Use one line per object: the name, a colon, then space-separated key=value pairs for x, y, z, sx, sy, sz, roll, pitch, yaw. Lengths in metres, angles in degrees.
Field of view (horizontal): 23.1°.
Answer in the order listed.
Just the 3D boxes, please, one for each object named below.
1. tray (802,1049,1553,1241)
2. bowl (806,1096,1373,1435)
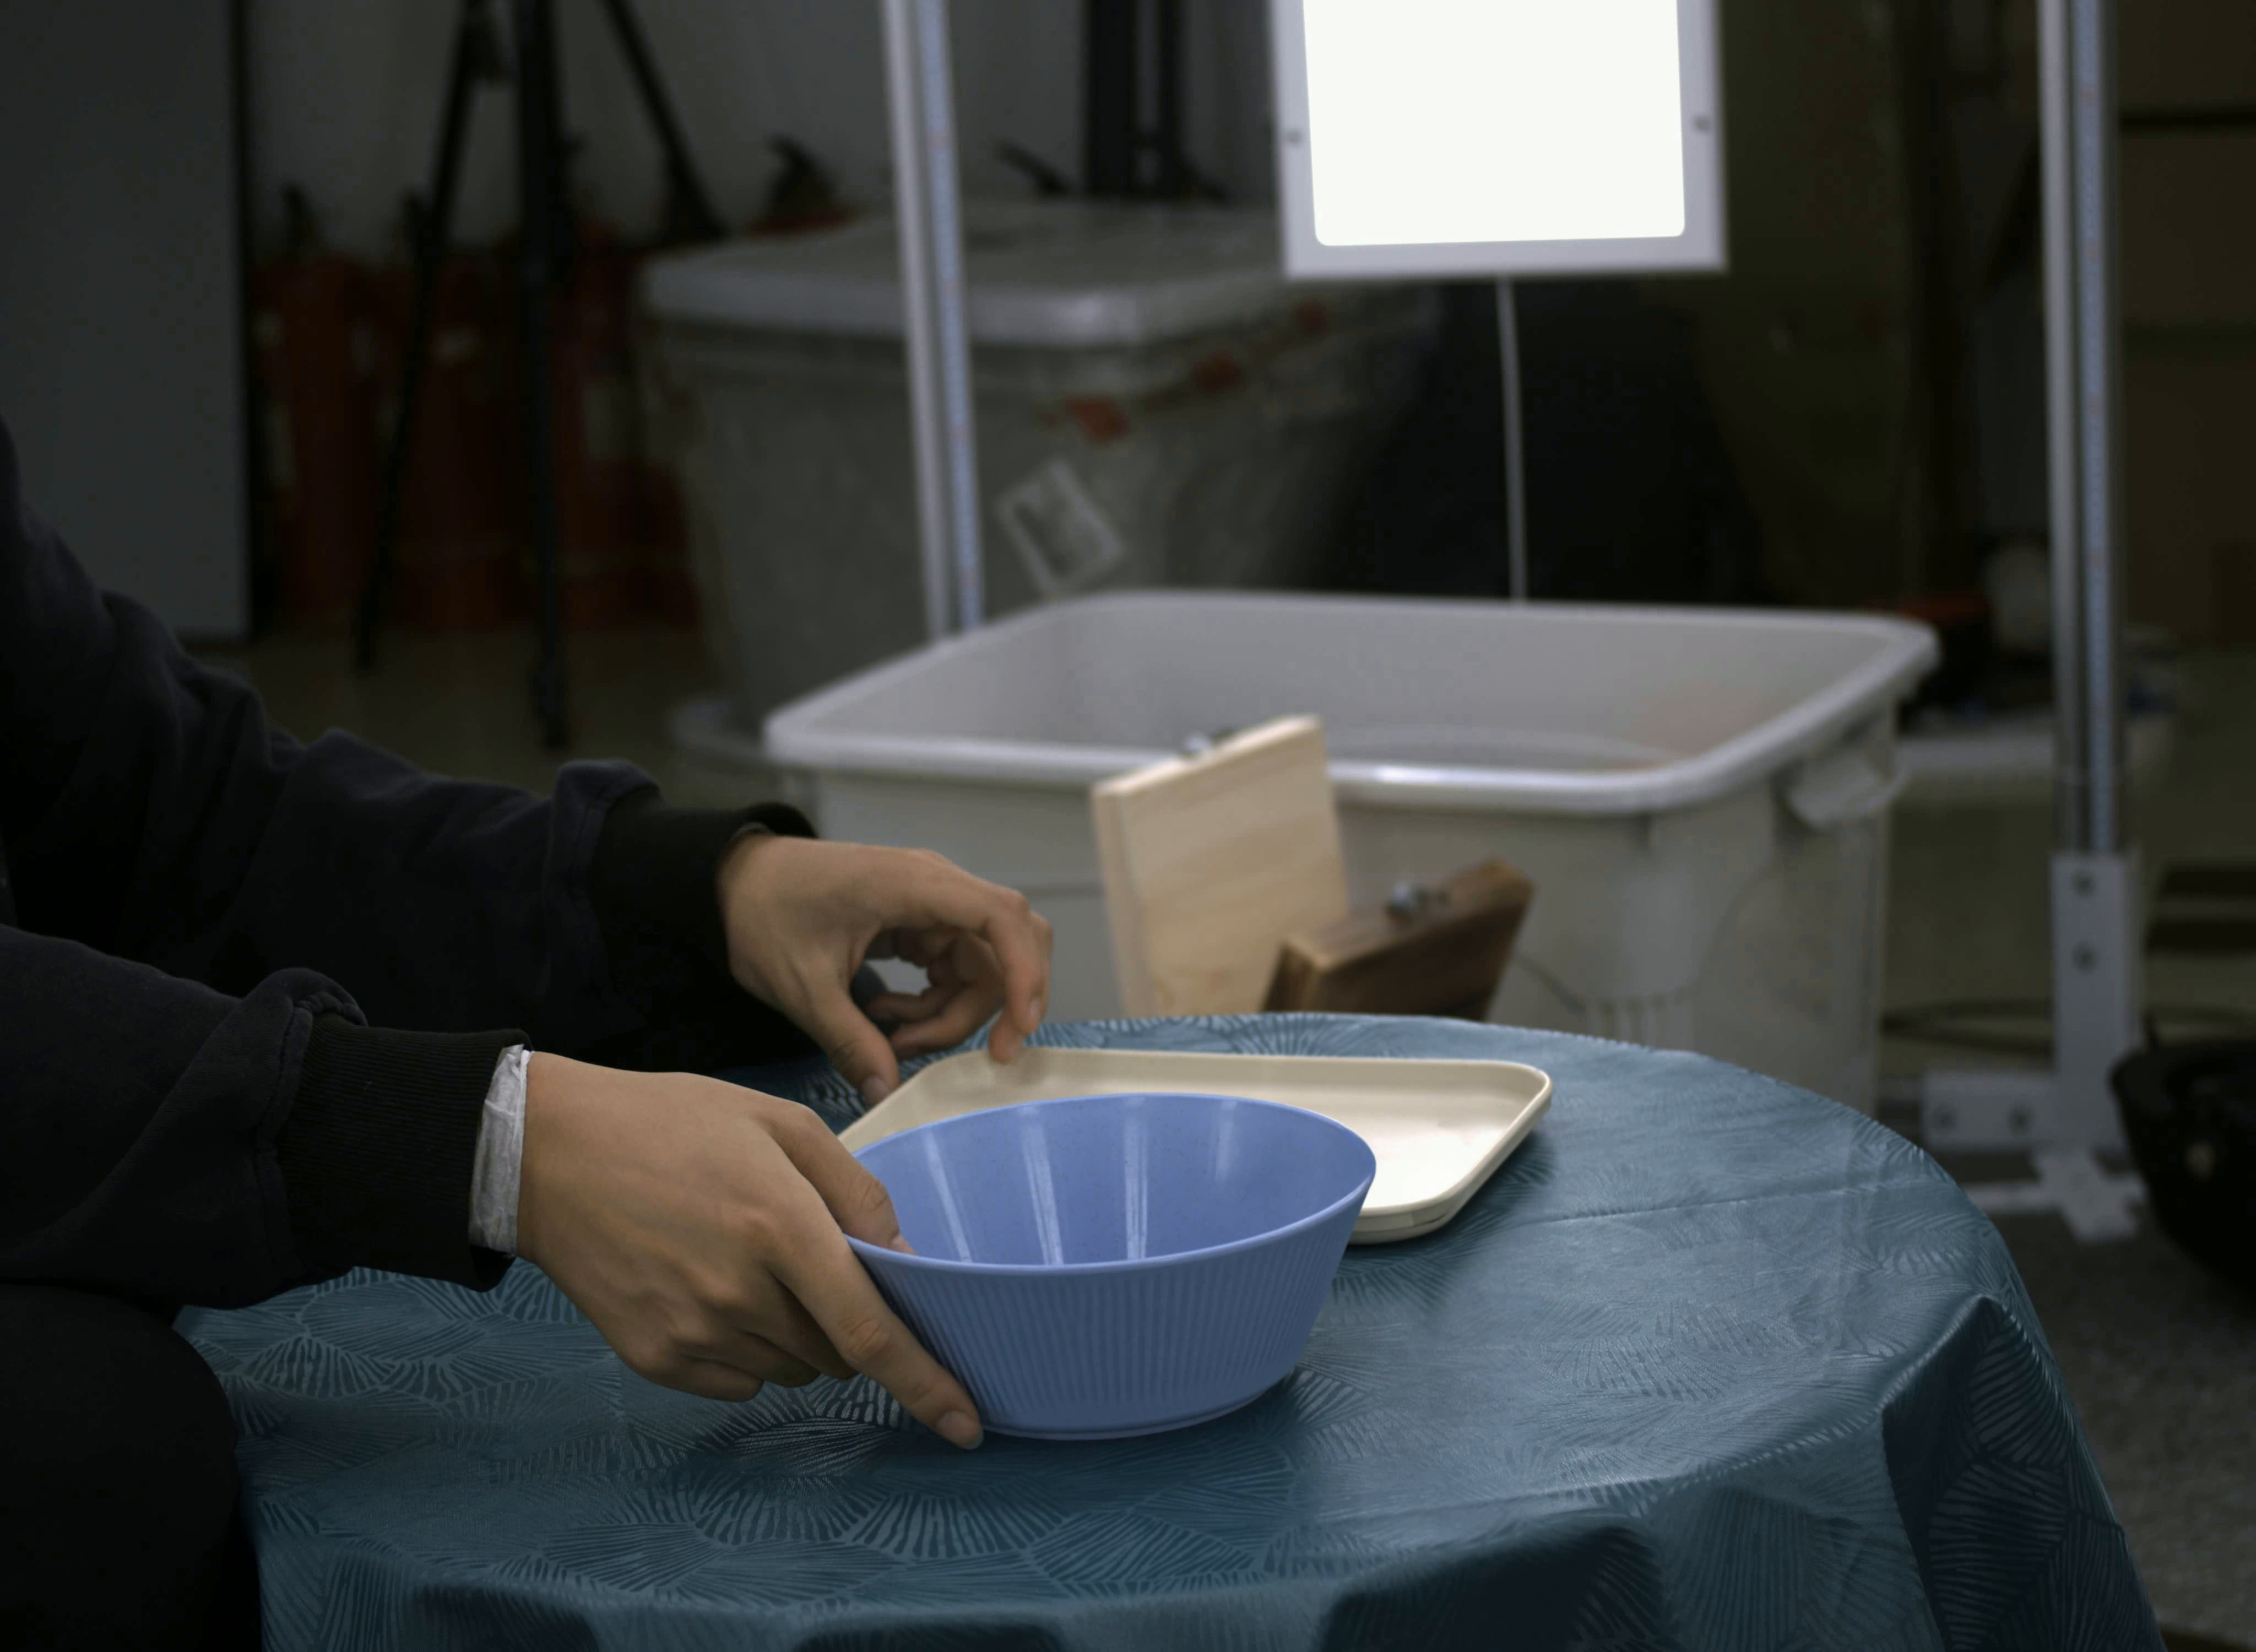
tray: x=0.019 y=0.111 z=1.917 sx=0.243 sy=0.017 sz=0.168 roll=1 pitch=14 yaw=22
bowl: x=-0.010 y=0.138 z=1.704 sx=0.175 sy=0.070 sz=0.176 roll=-4 pitch=14 yaw=0
